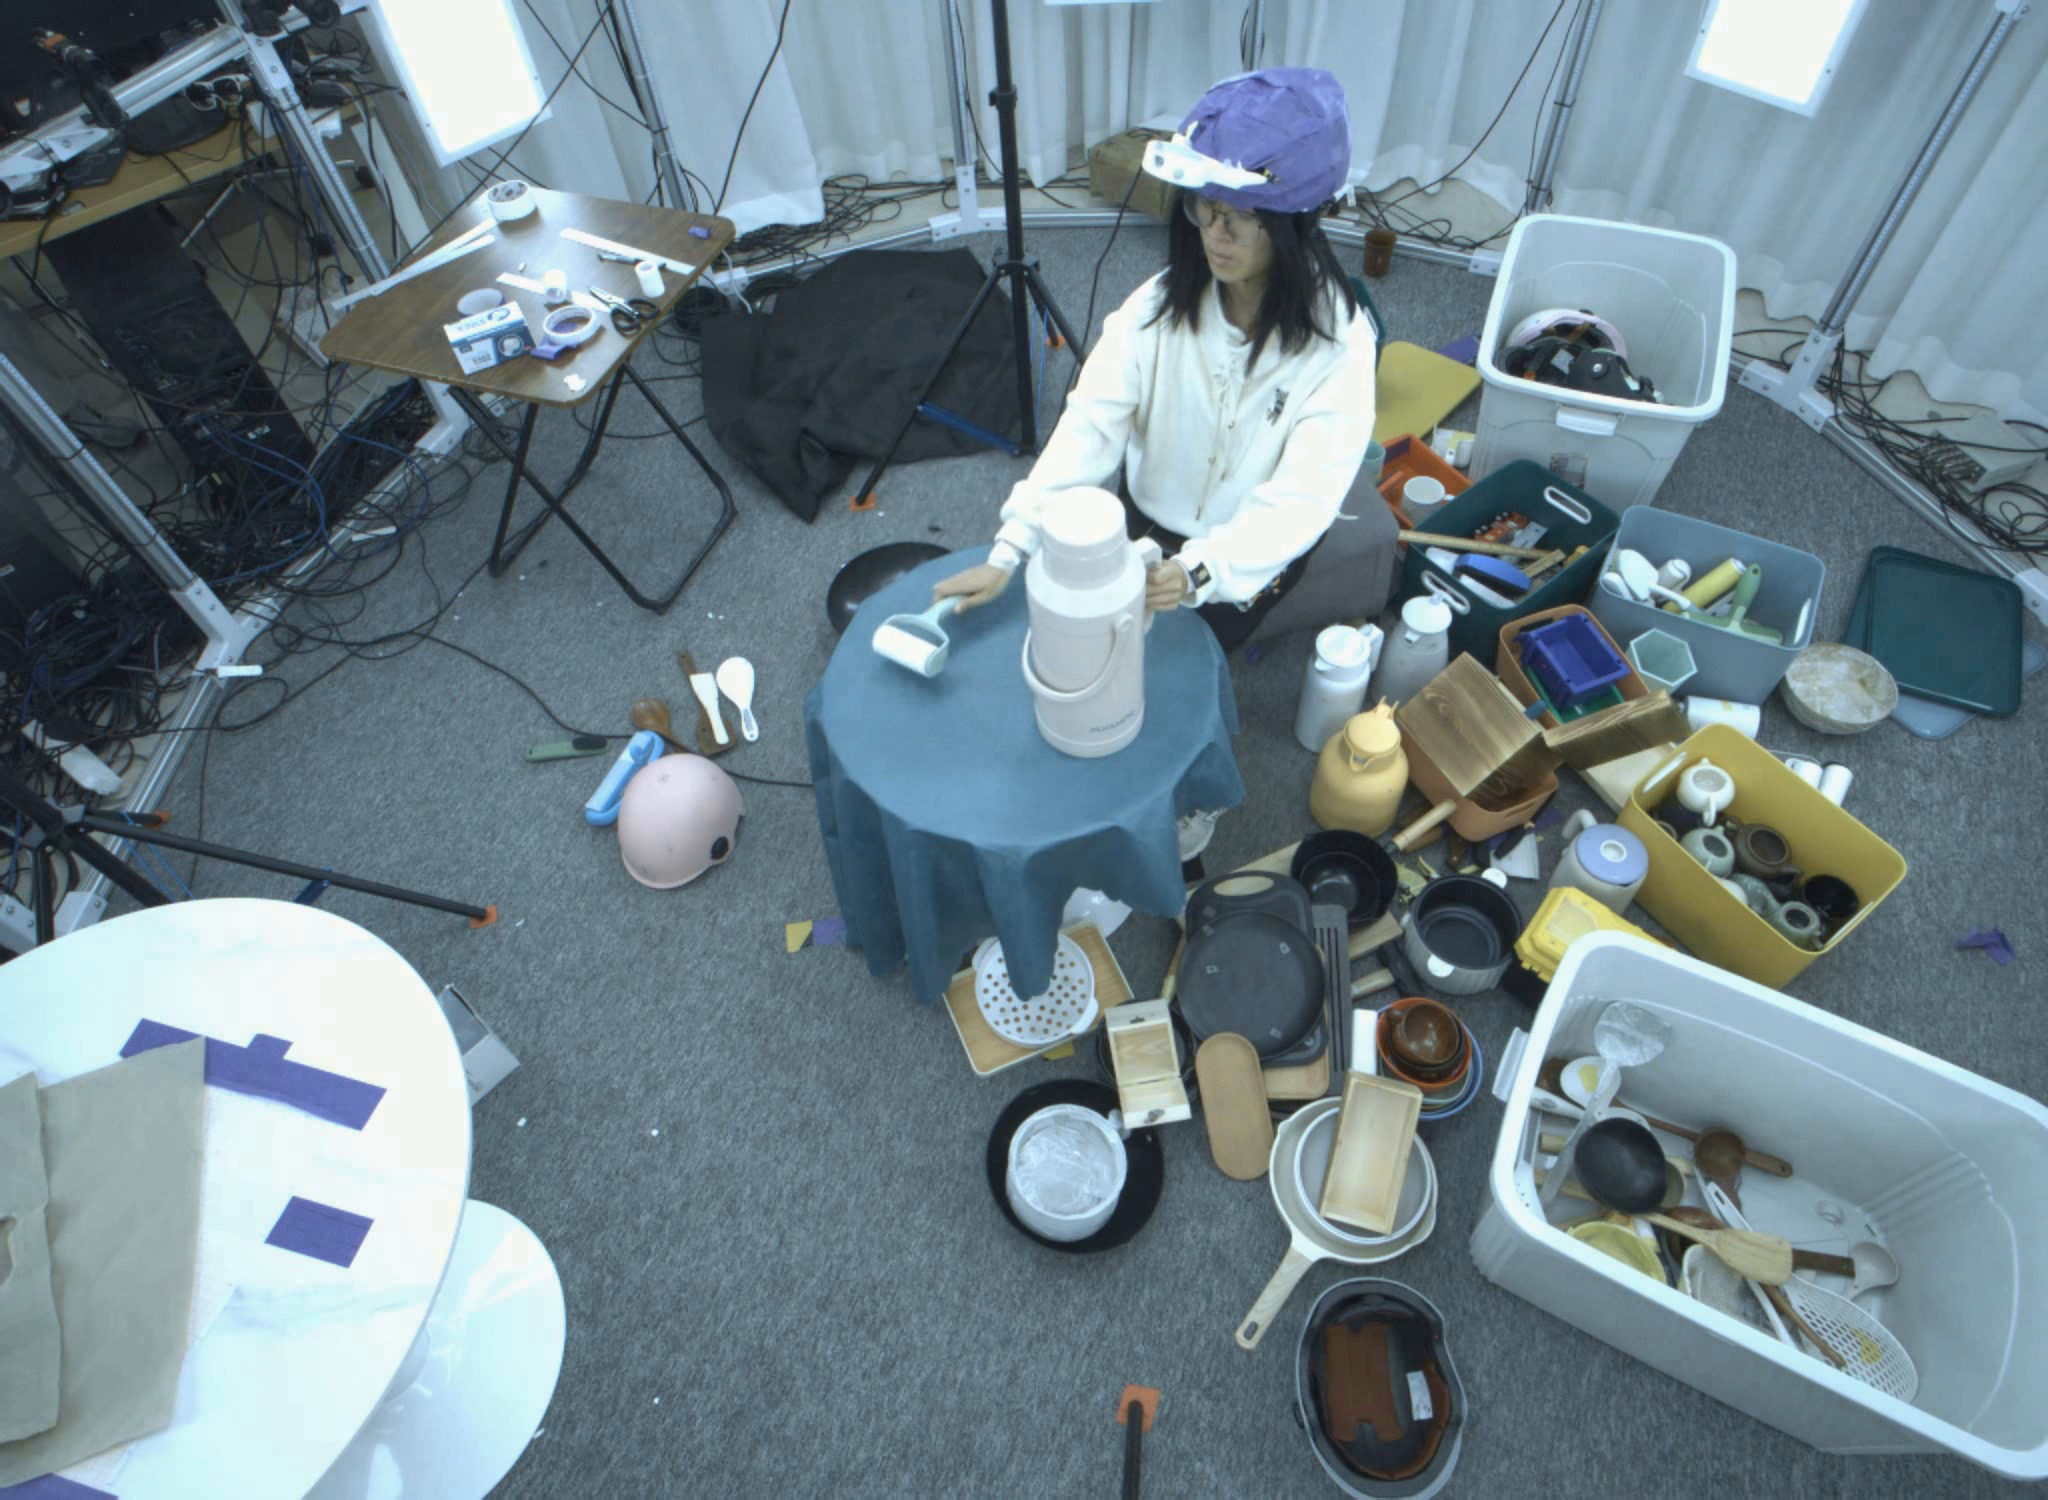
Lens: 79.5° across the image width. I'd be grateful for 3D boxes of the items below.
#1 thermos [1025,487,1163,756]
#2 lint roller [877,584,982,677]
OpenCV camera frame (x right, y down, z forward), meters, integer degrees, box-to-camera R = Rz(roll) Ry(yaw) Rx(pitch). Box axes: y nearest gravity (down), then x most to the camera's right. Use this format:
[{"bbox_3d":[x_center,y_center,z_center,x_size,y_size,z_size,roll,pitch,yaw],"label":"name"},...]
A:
[{"bbox_3d":[0.097,-0.175,1.664,0.208,0.411,0.172,-31,58,-17],"label":"thermos"},{"bbox_3d":[-0.126,-0.198,1.872,0.114,0.049,0.198,26,60,26],"label":"lint roller"}]
